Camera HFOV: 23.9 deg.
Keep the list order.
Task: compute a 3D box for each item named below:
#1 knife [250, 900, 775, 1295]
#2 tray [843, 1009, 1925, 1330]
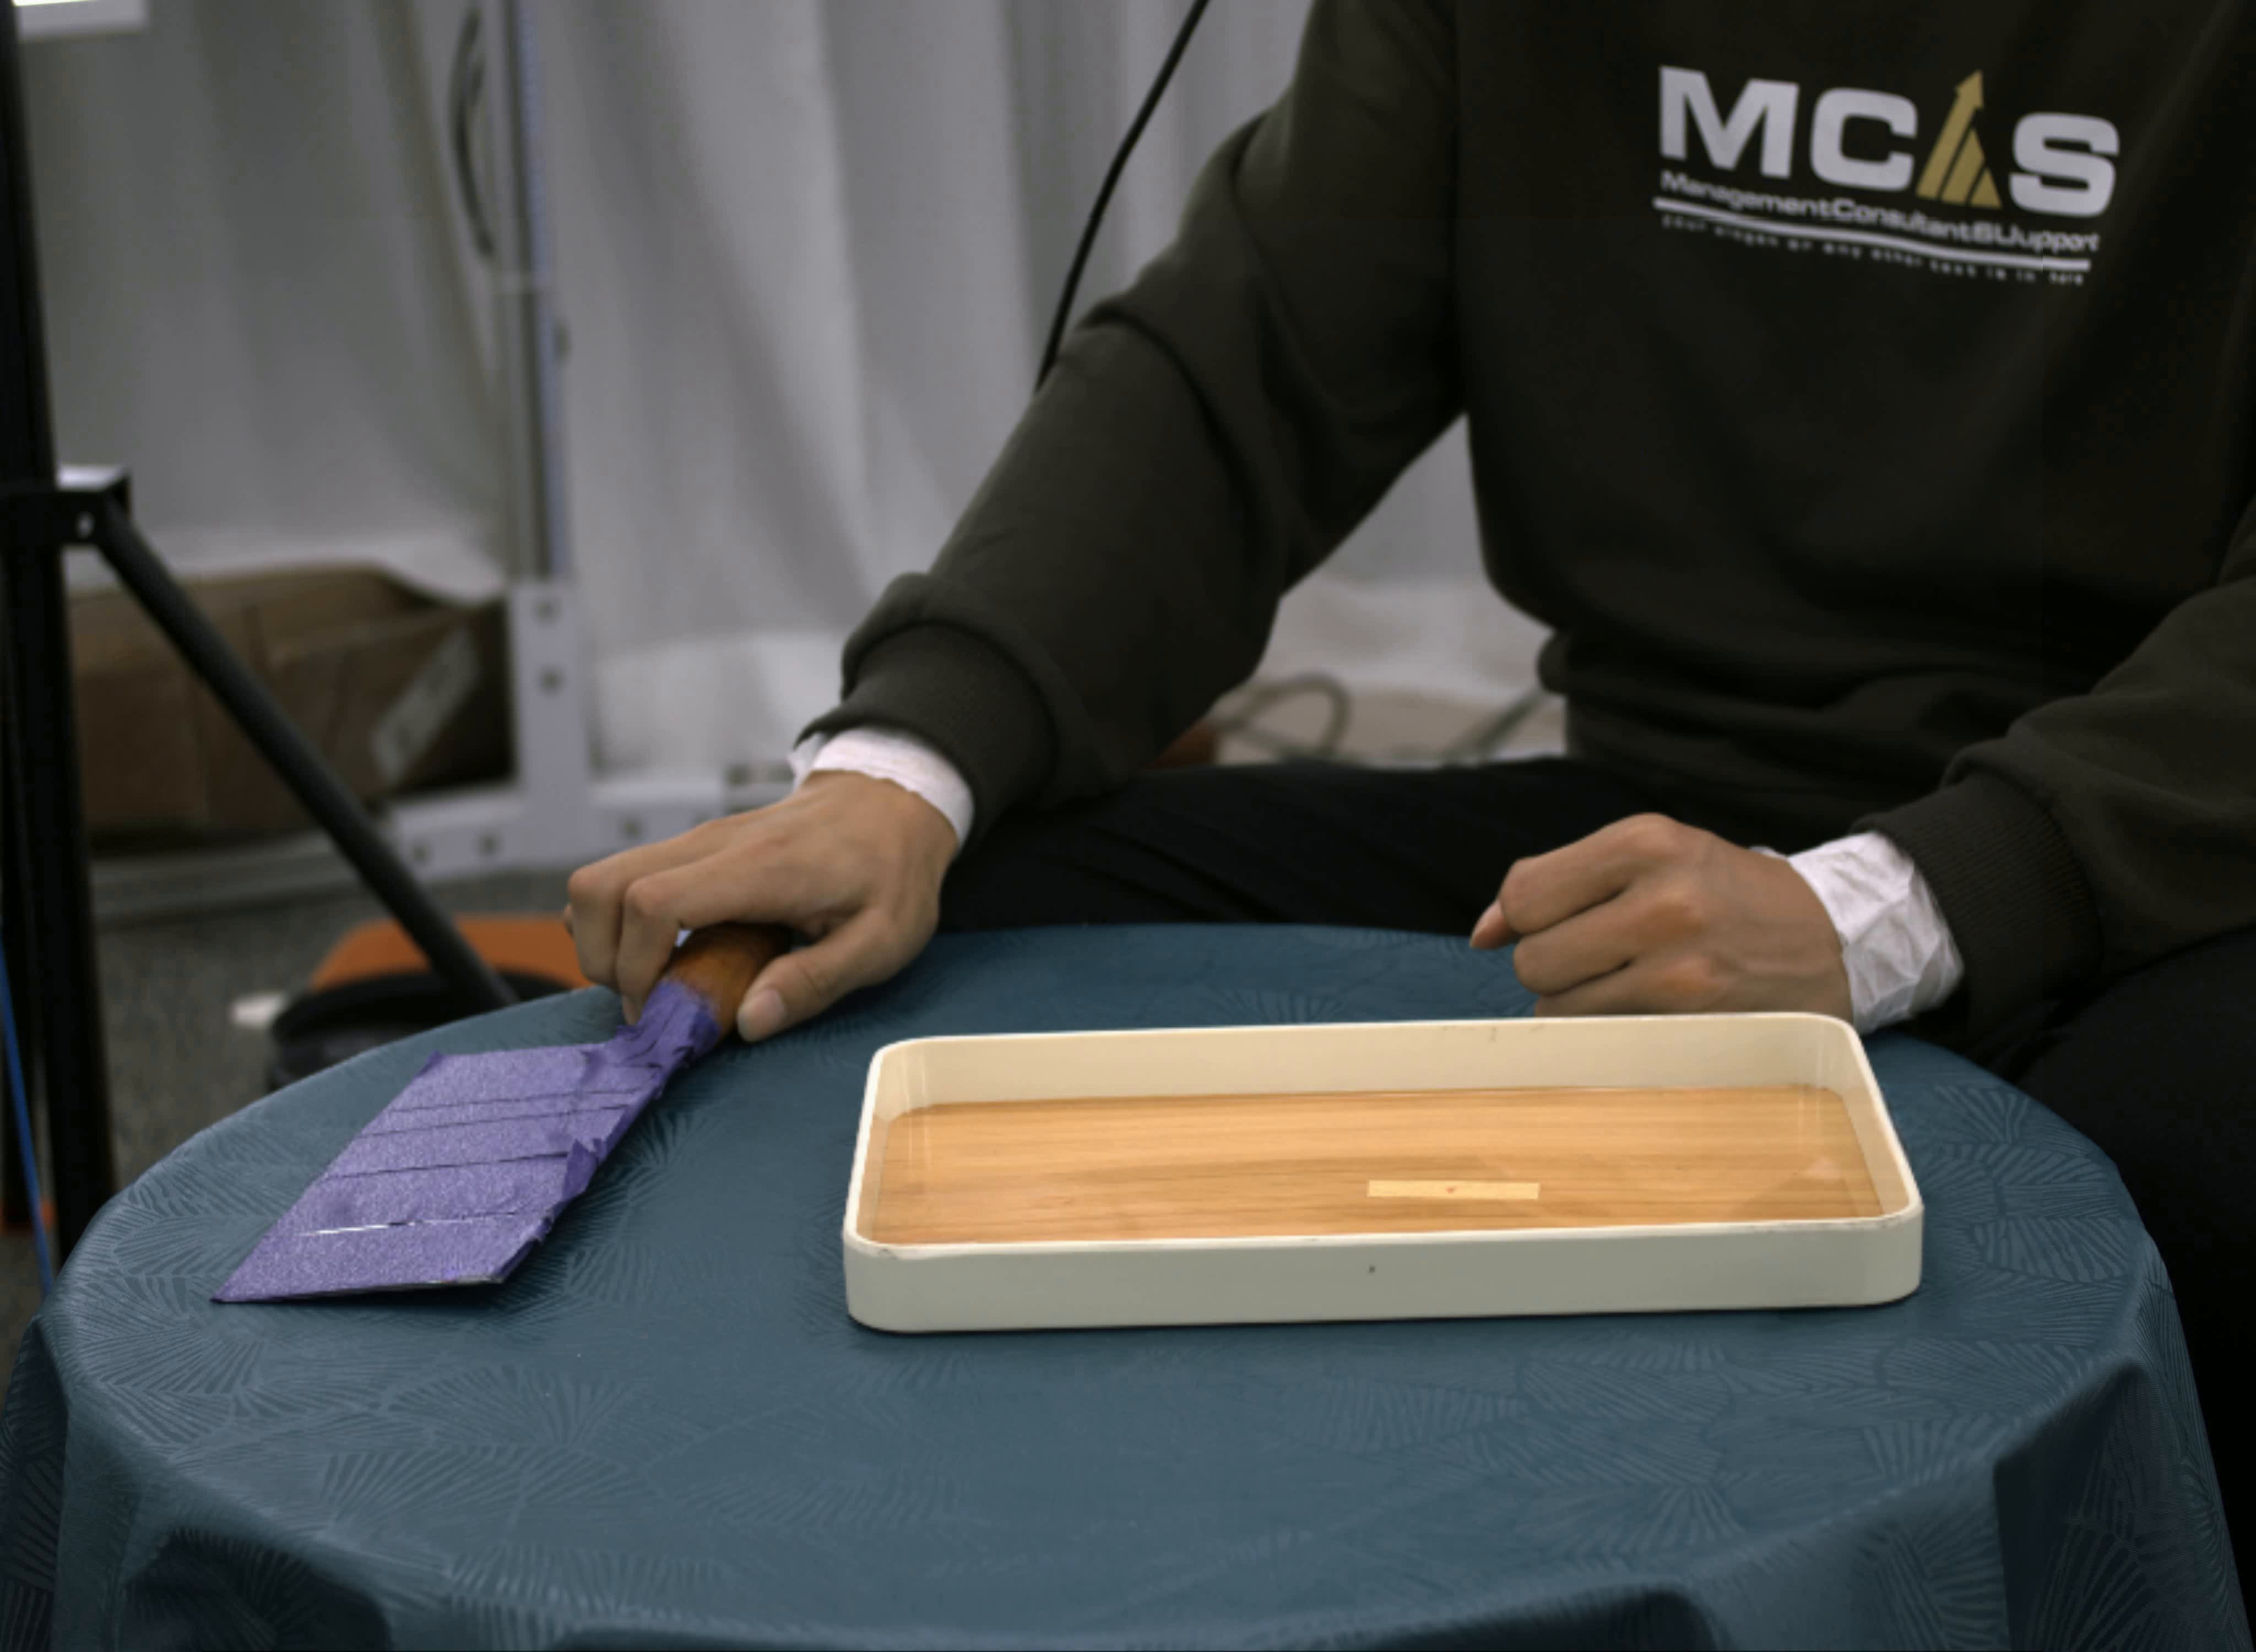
[{"bbox_3d":[-0.186,0.080,1.639,0.104,0.032,0.313,-5,14,12],"label":"knife"},{"bbox_3d":[0.071,0.098,1.536,0.299,0.027,0.192,-2,16,3],"label":"tray"}]
